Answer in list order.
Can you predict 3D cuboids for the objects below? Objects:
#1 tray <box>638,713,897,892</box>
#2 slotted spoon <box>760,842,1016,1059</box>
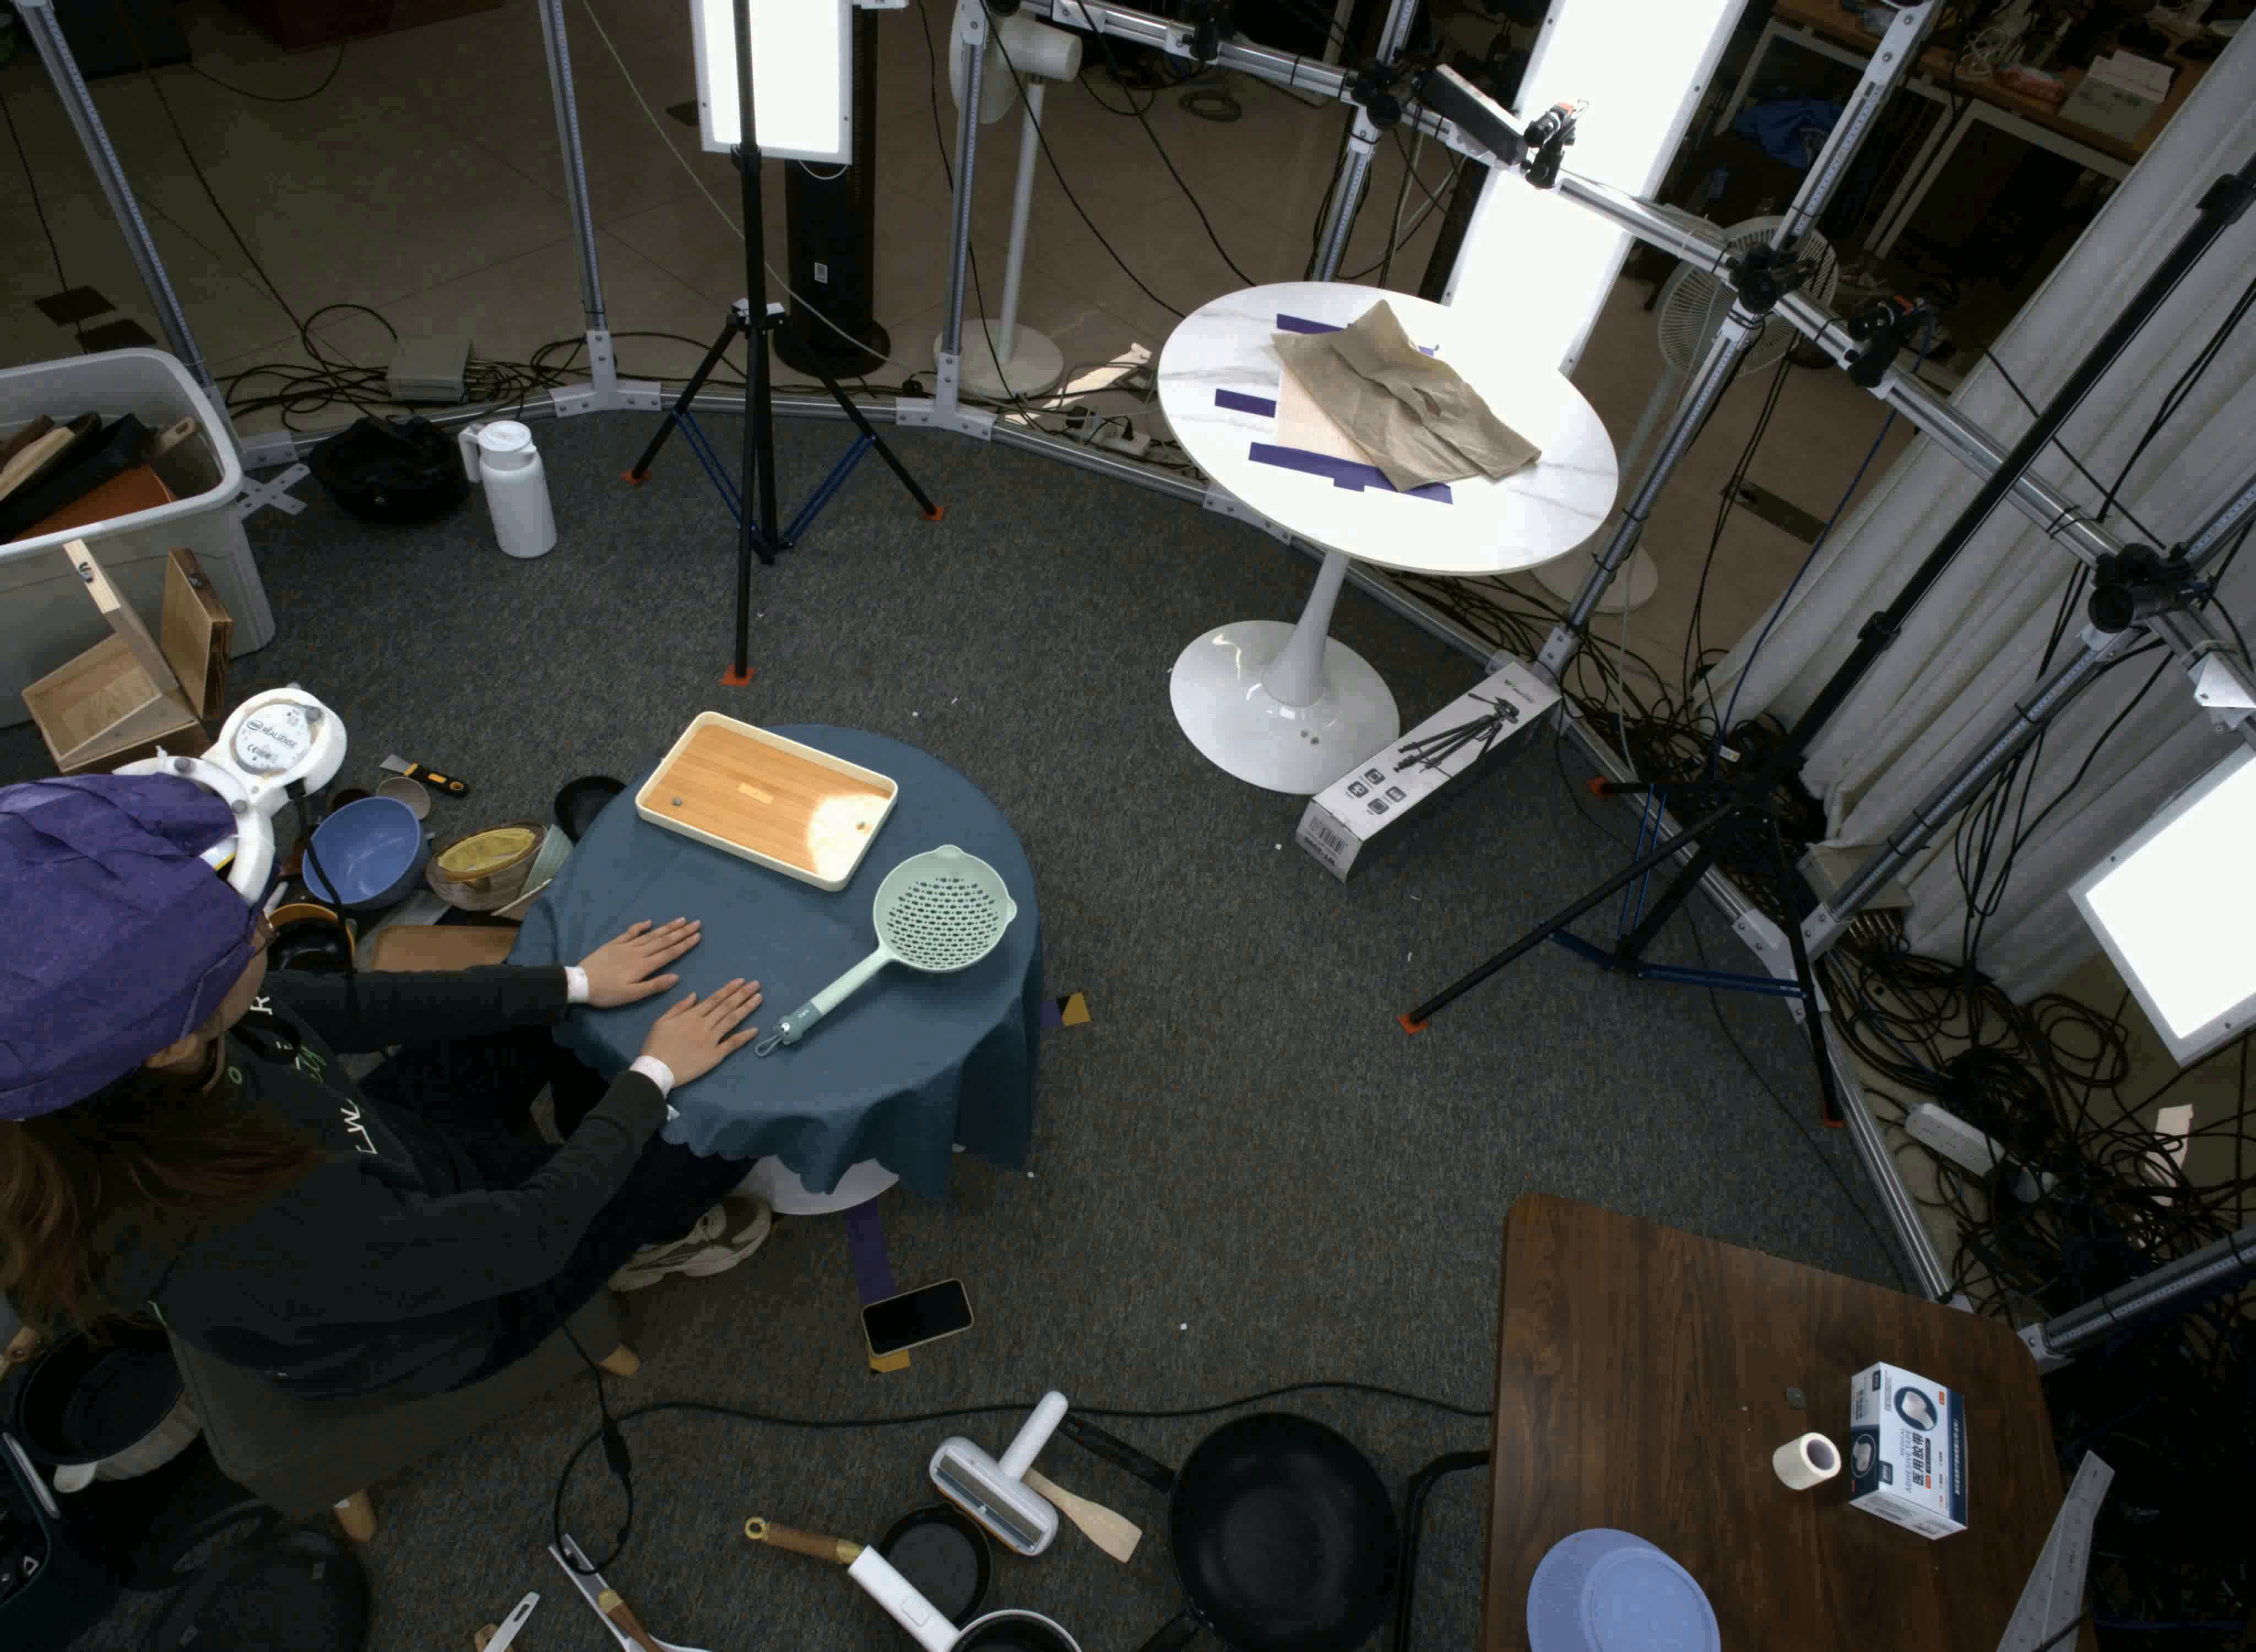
[{"bbox_3d":[-0.479,-0.036,1.725,0.297,0.028,0.190,21,51,2],"label":"tray"},{"bbox_3d":[-0.303,0.161,1.599,0.165,0.077,0.360,42,55,19],"label":"slotted spoon"}]
